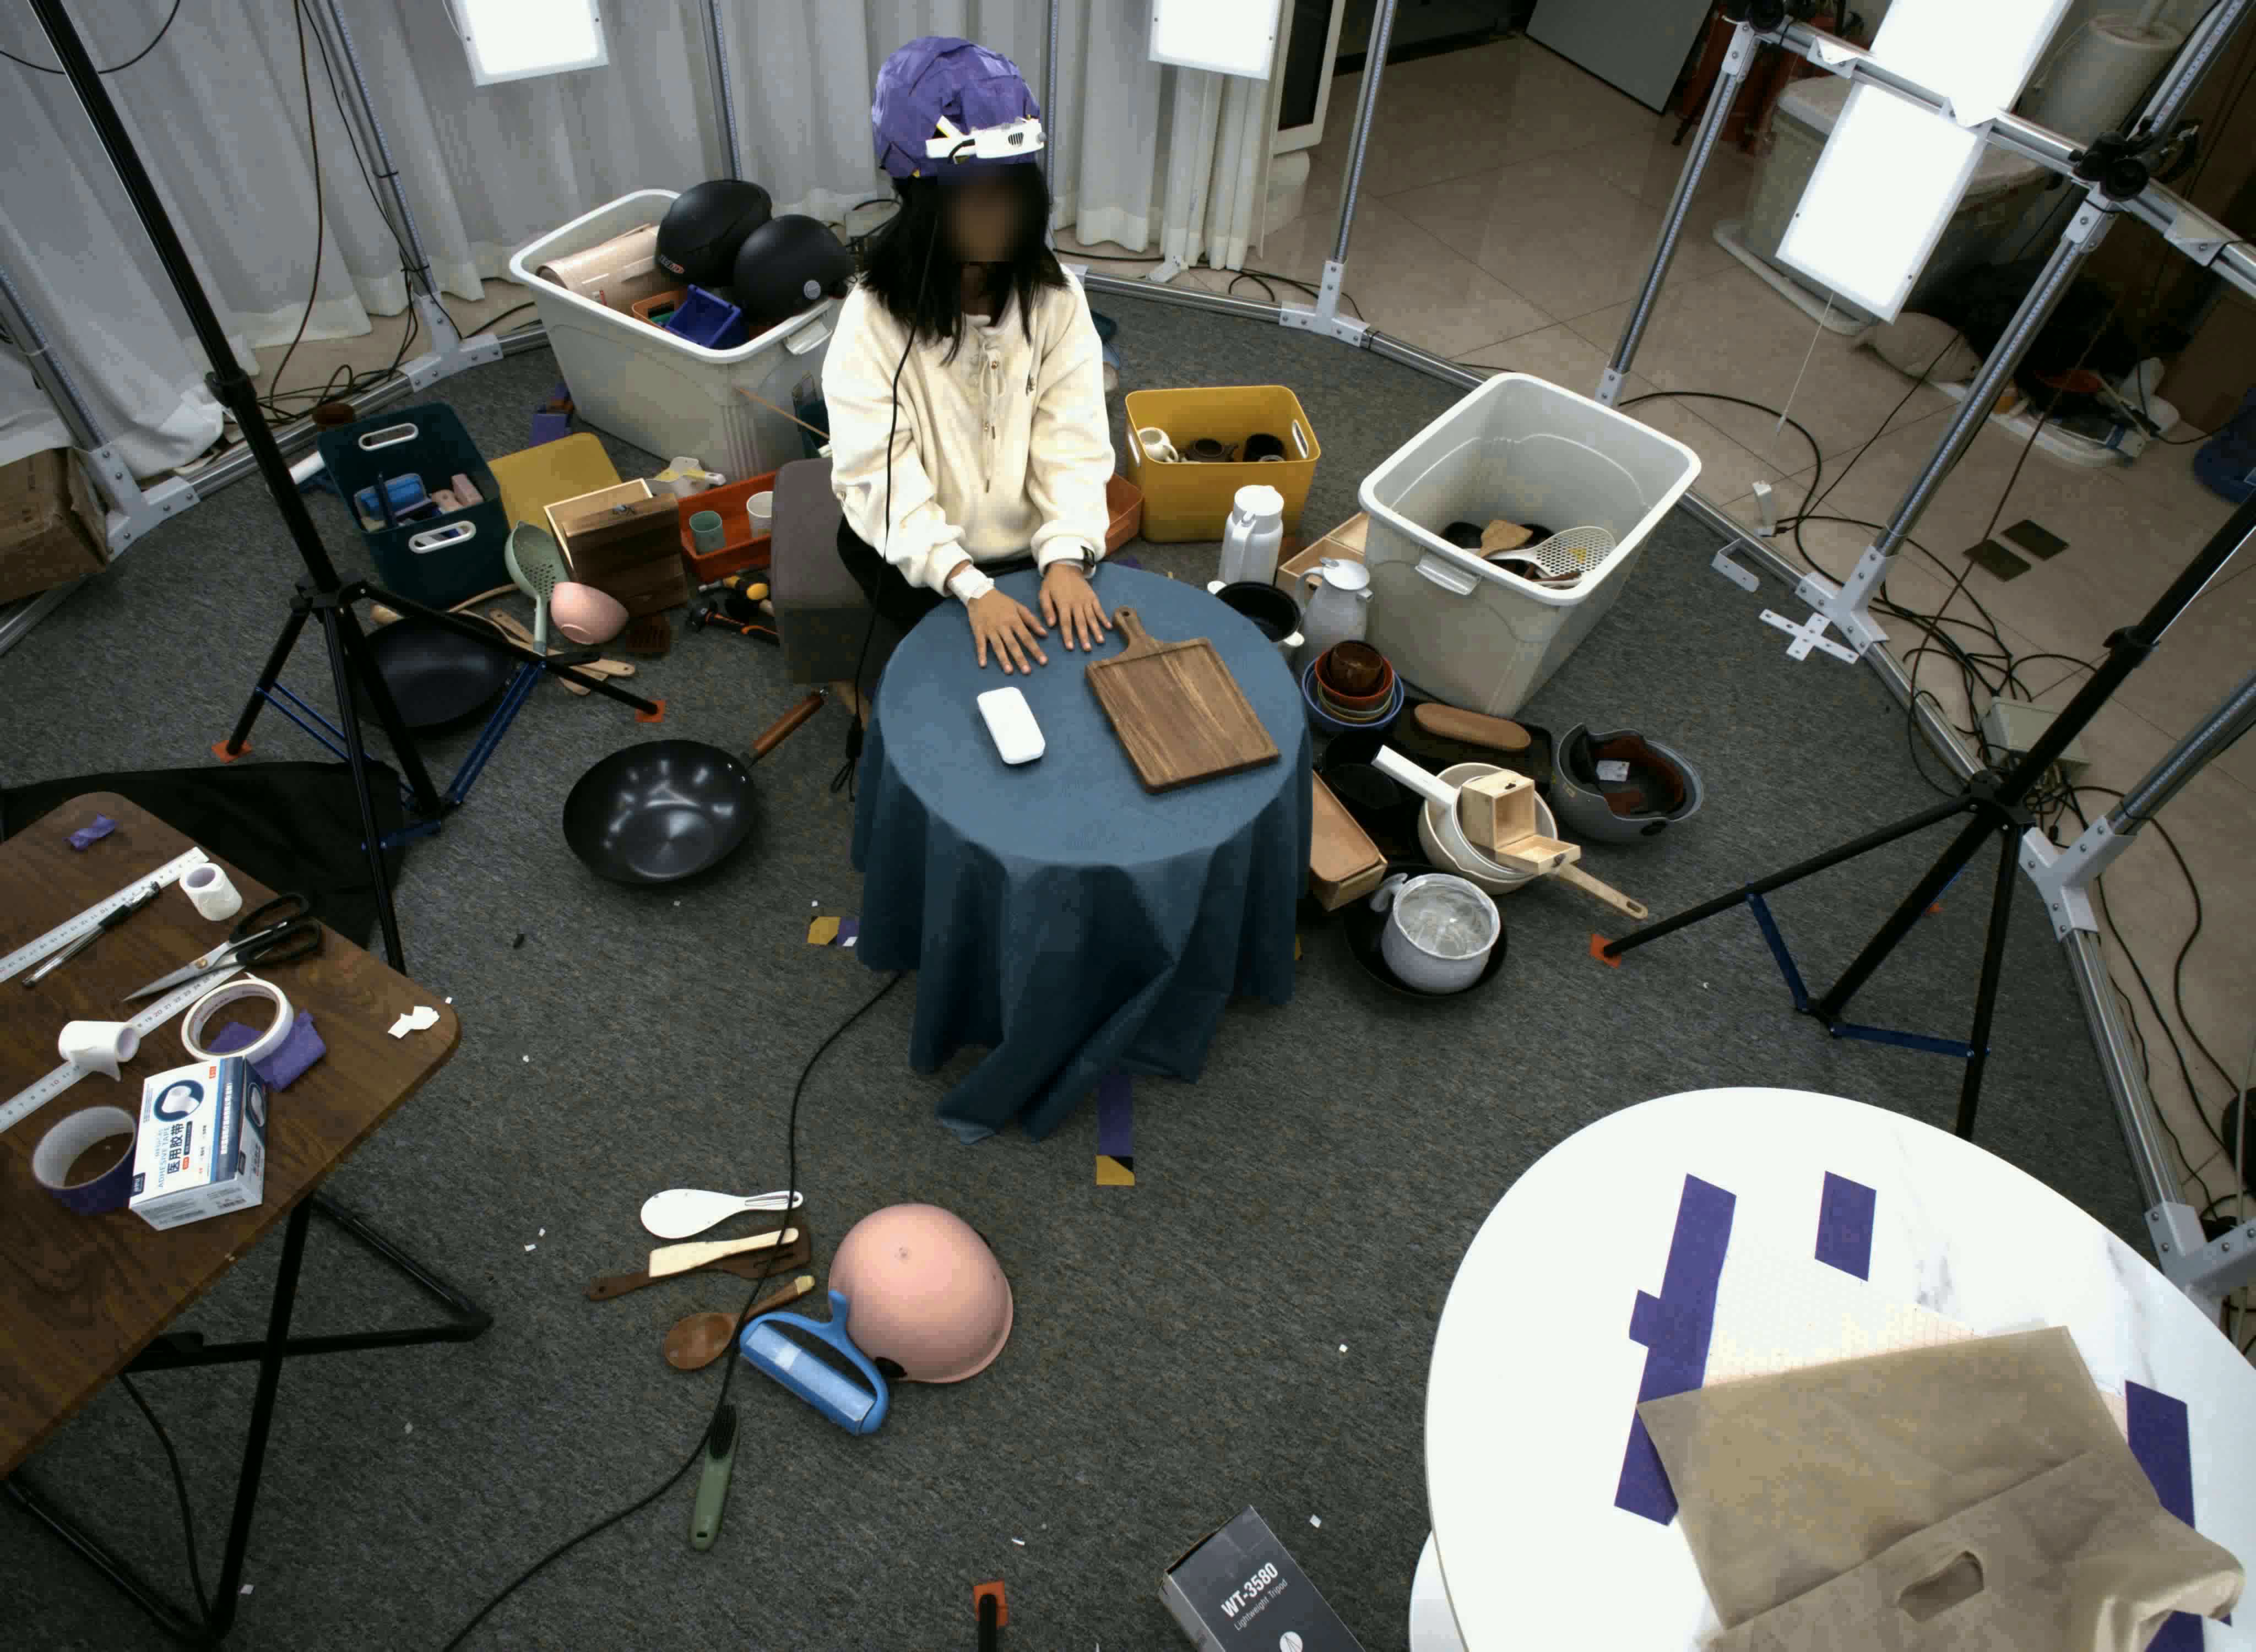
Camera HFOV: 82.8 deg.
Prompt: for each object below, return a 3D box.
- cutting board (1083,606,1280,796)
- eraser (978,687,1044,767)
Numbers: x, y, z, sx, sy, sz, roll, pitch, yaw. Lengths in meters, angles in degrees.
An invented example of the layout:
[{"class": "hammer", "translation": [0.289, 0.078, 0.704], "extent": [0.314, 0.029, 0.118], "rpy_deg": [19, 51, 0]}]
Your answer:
[{"class": "cutting board", "translation": [0.054, -0.197, 1.830], "extent": [0.201, 0.022, 0.360], "rpy_deg": [-15, 52, -17]}, {"class": "eraser", "translation": [-0.160, -0.139, 1.760], "extent": [0.063, 0.034, 0.134], "rpy_deg": [-14, 52, -15]}]
